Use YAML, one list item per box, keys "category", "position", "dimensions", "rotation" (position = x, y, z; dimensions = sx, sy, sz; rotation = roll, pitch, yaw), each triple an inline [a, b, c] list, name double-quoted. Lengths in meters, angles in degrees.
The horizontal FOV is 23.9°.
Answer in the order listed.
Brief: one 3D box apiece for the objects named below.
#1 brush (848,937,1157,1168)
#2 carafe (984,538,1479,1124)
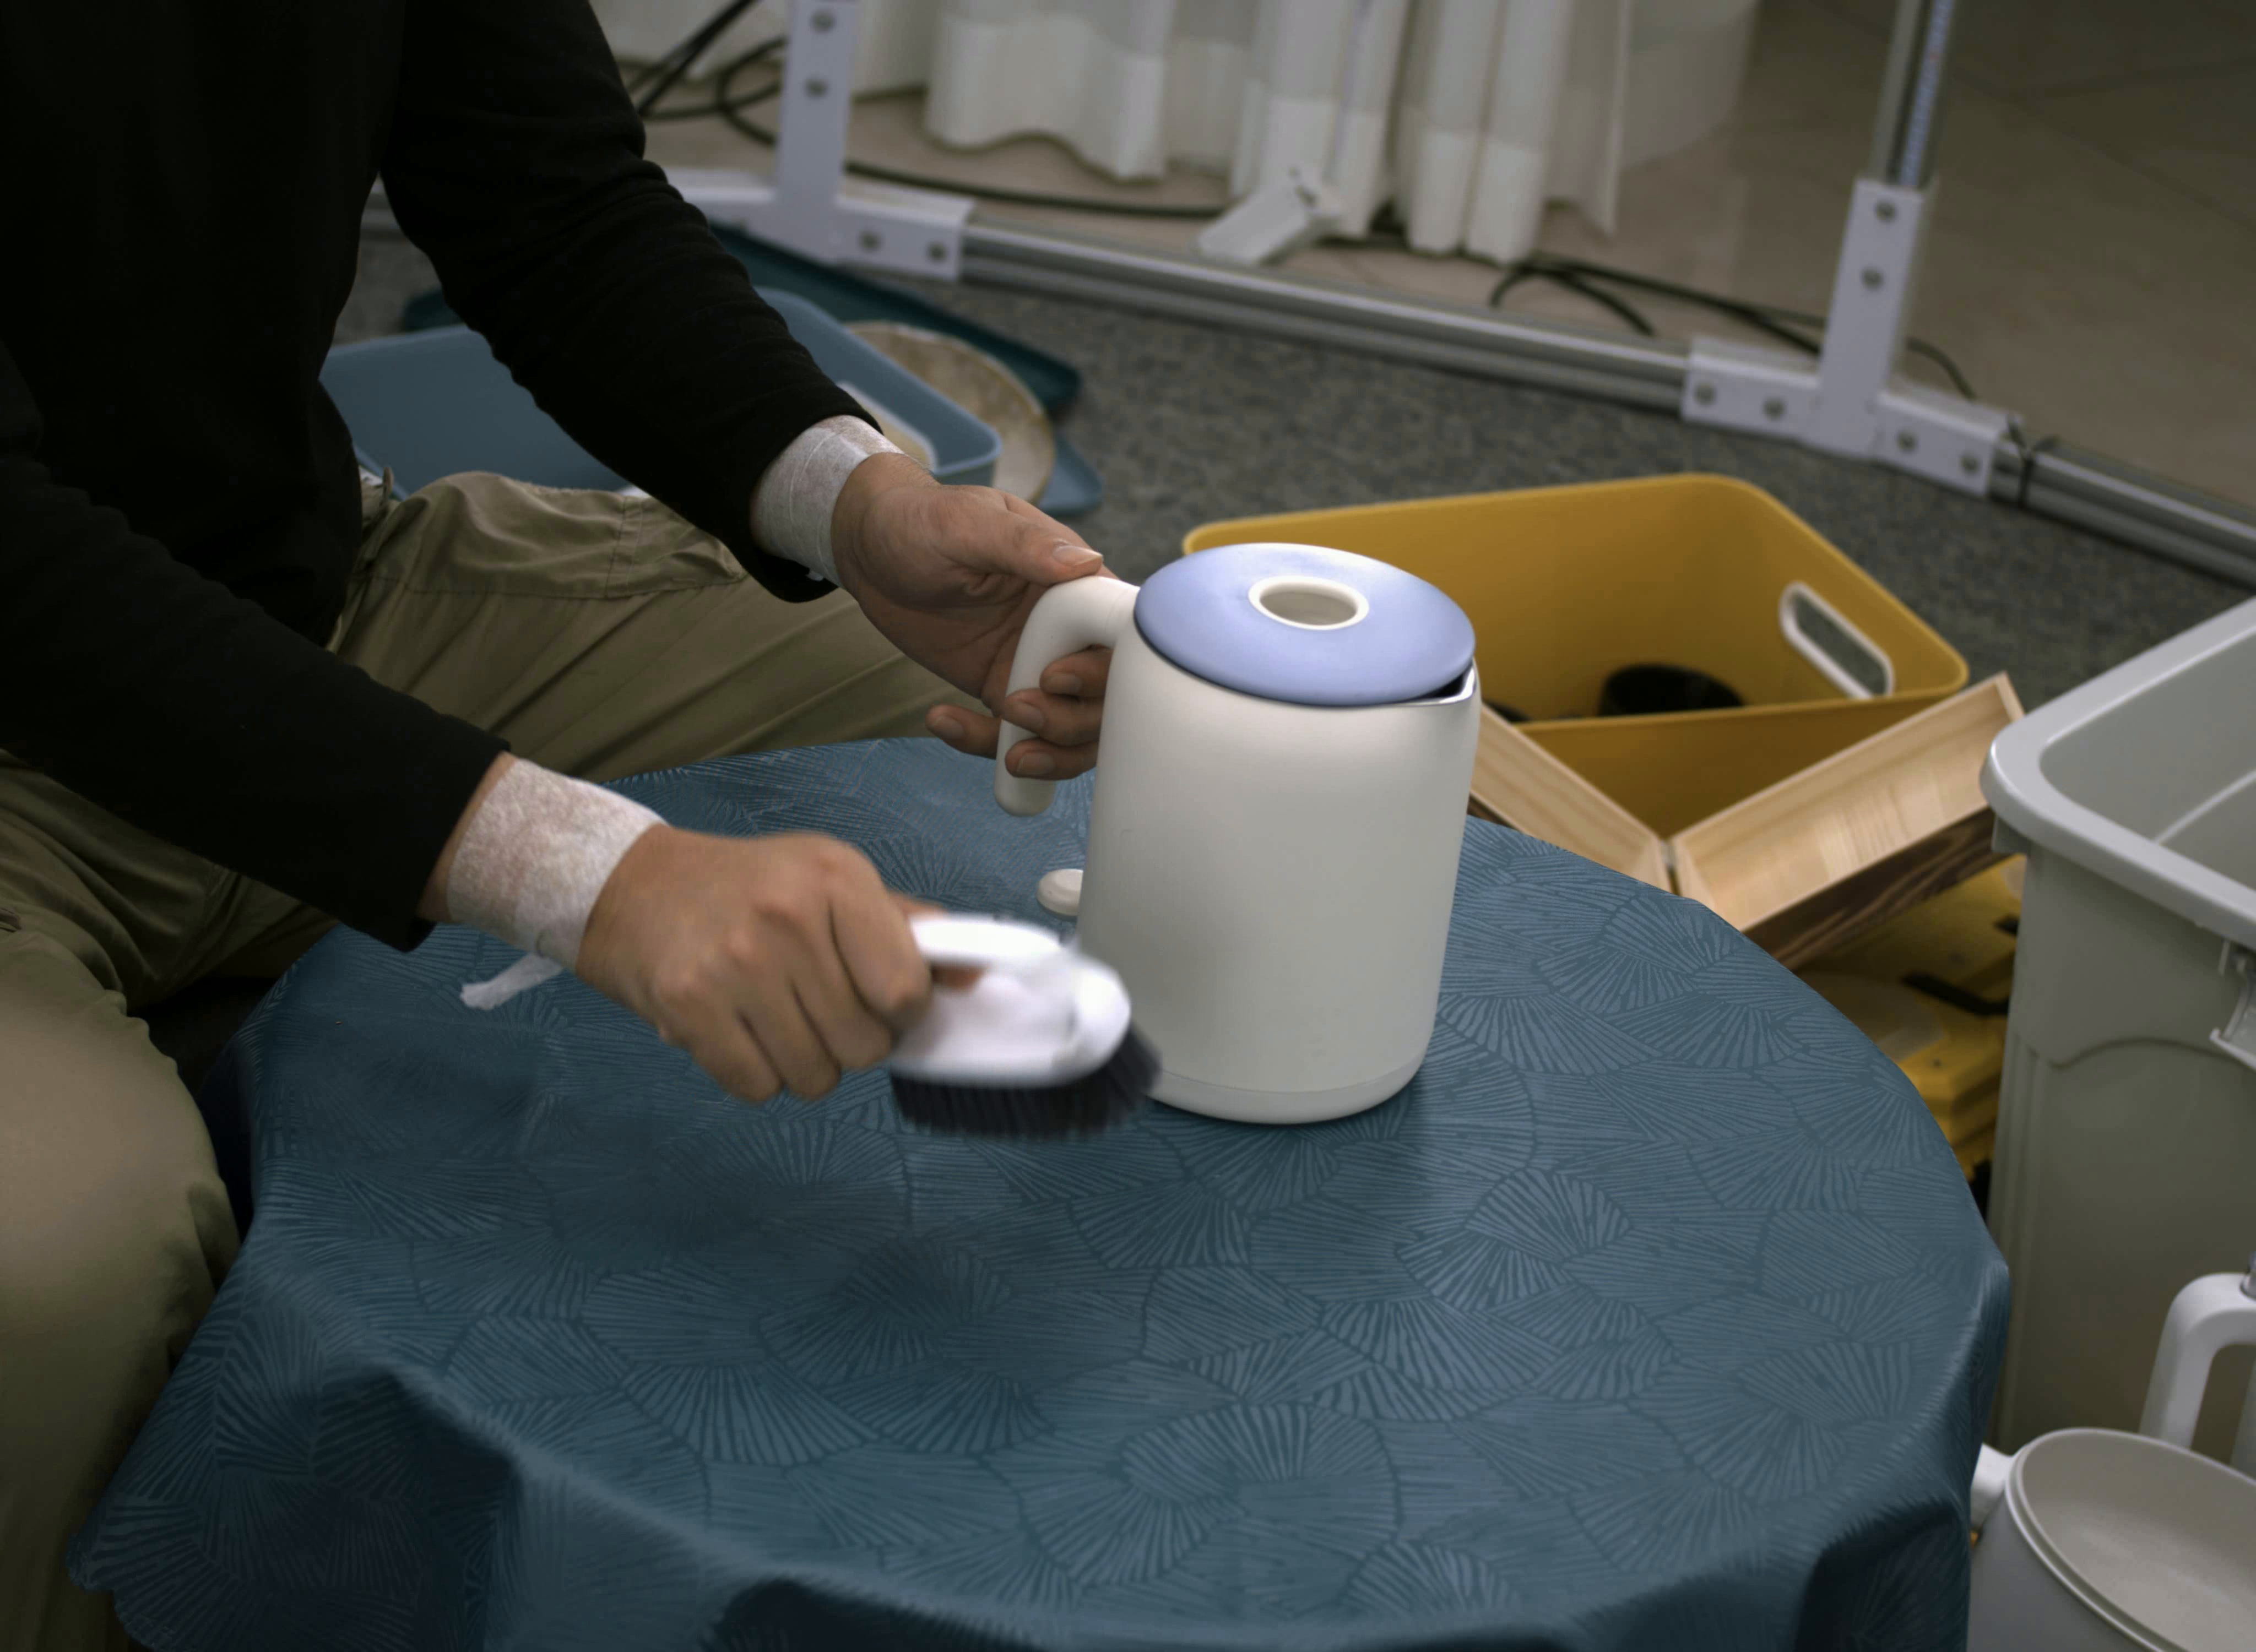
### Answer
- category: "brush"
  position: [-0.046, 0.066, 1.707]
  dimensions: [0.100, 0.072, 0.050]
  rotation: [6, 48, 38]
- category: "carafe"
  position: [0.031, -0.007, 1.877]
  dimensions: [0.192, 0.182, 0.132]
  rotation: [21, 30, 29]
